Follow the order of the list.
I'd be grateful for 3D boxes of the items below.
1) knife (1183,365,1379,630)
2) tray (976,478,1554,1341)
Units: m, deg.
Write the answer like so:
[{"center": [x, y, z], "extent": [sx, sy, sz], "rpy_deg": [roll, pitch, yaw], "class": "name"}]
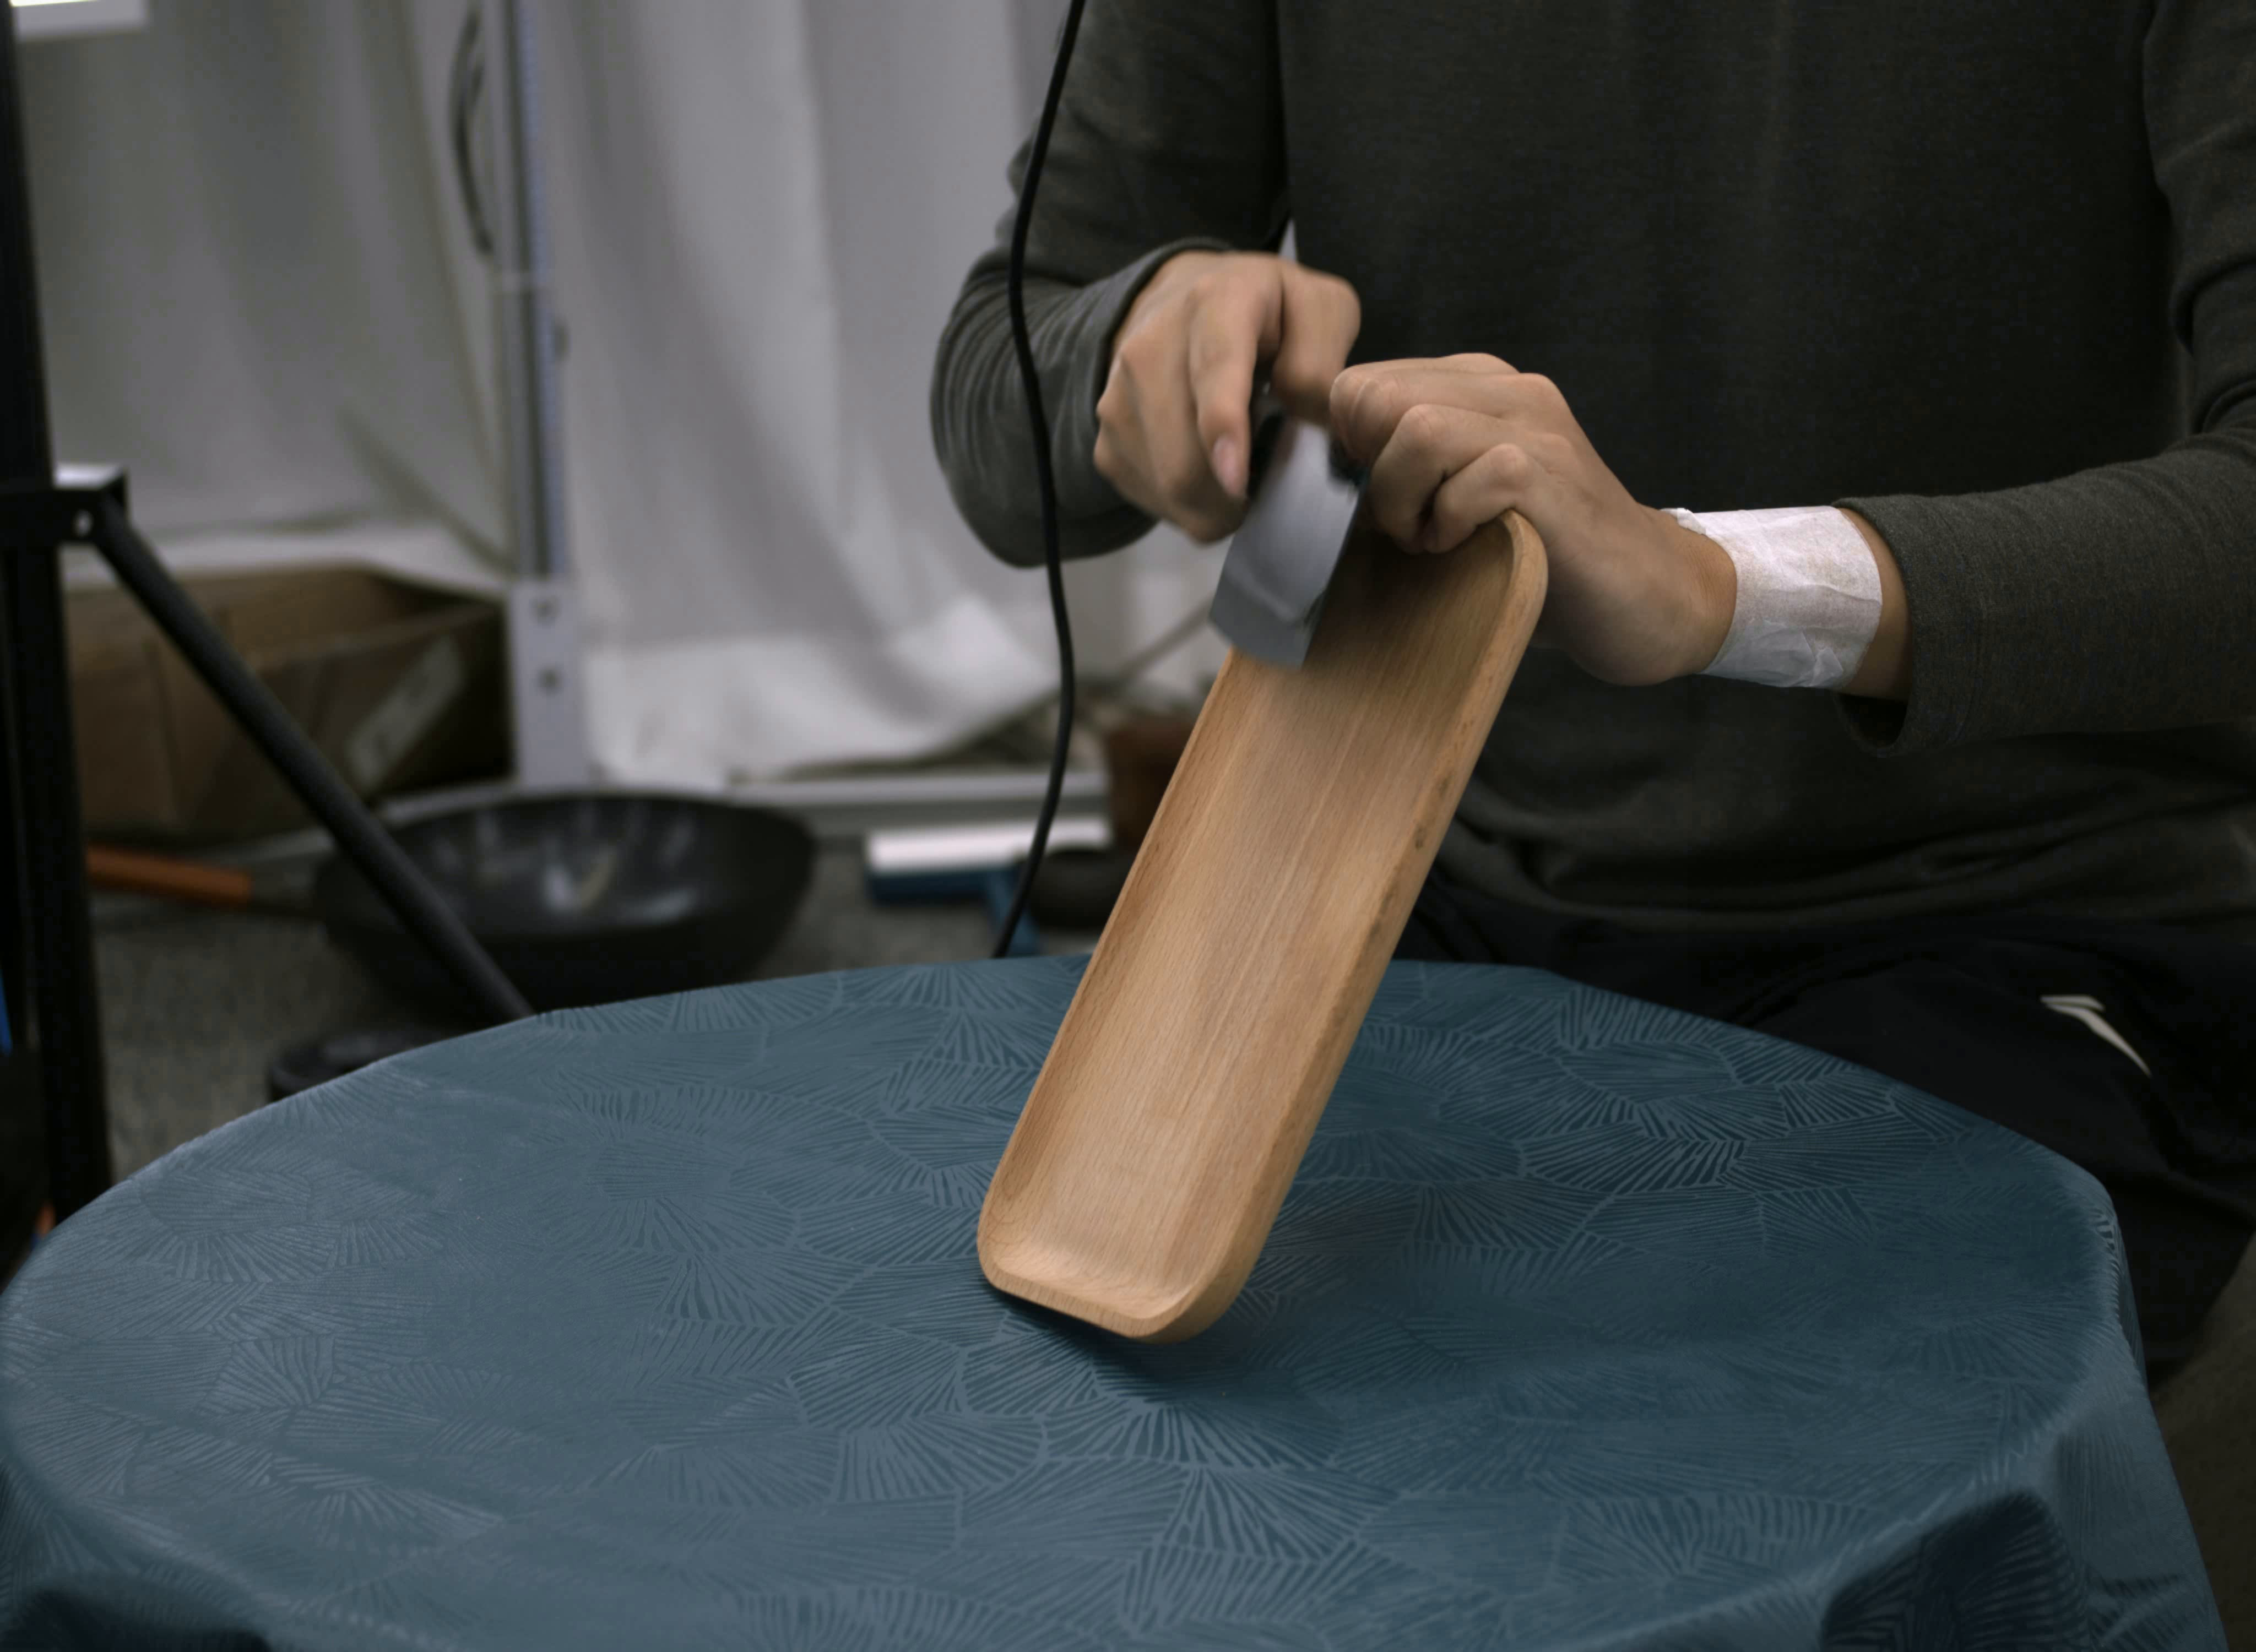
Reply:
[{"center": [0.041, -0.099, 1.549], "extent": [0.020, 0.081, 0.304], "rpy_deg": [17, 9, -8], "class": "knife"}, {"center": [0.038, 0.021, 1.467], "extent": [0.022, 0.251, 0.133], "rpy_deg": [30, -8, -31], "class": "tray"}]
